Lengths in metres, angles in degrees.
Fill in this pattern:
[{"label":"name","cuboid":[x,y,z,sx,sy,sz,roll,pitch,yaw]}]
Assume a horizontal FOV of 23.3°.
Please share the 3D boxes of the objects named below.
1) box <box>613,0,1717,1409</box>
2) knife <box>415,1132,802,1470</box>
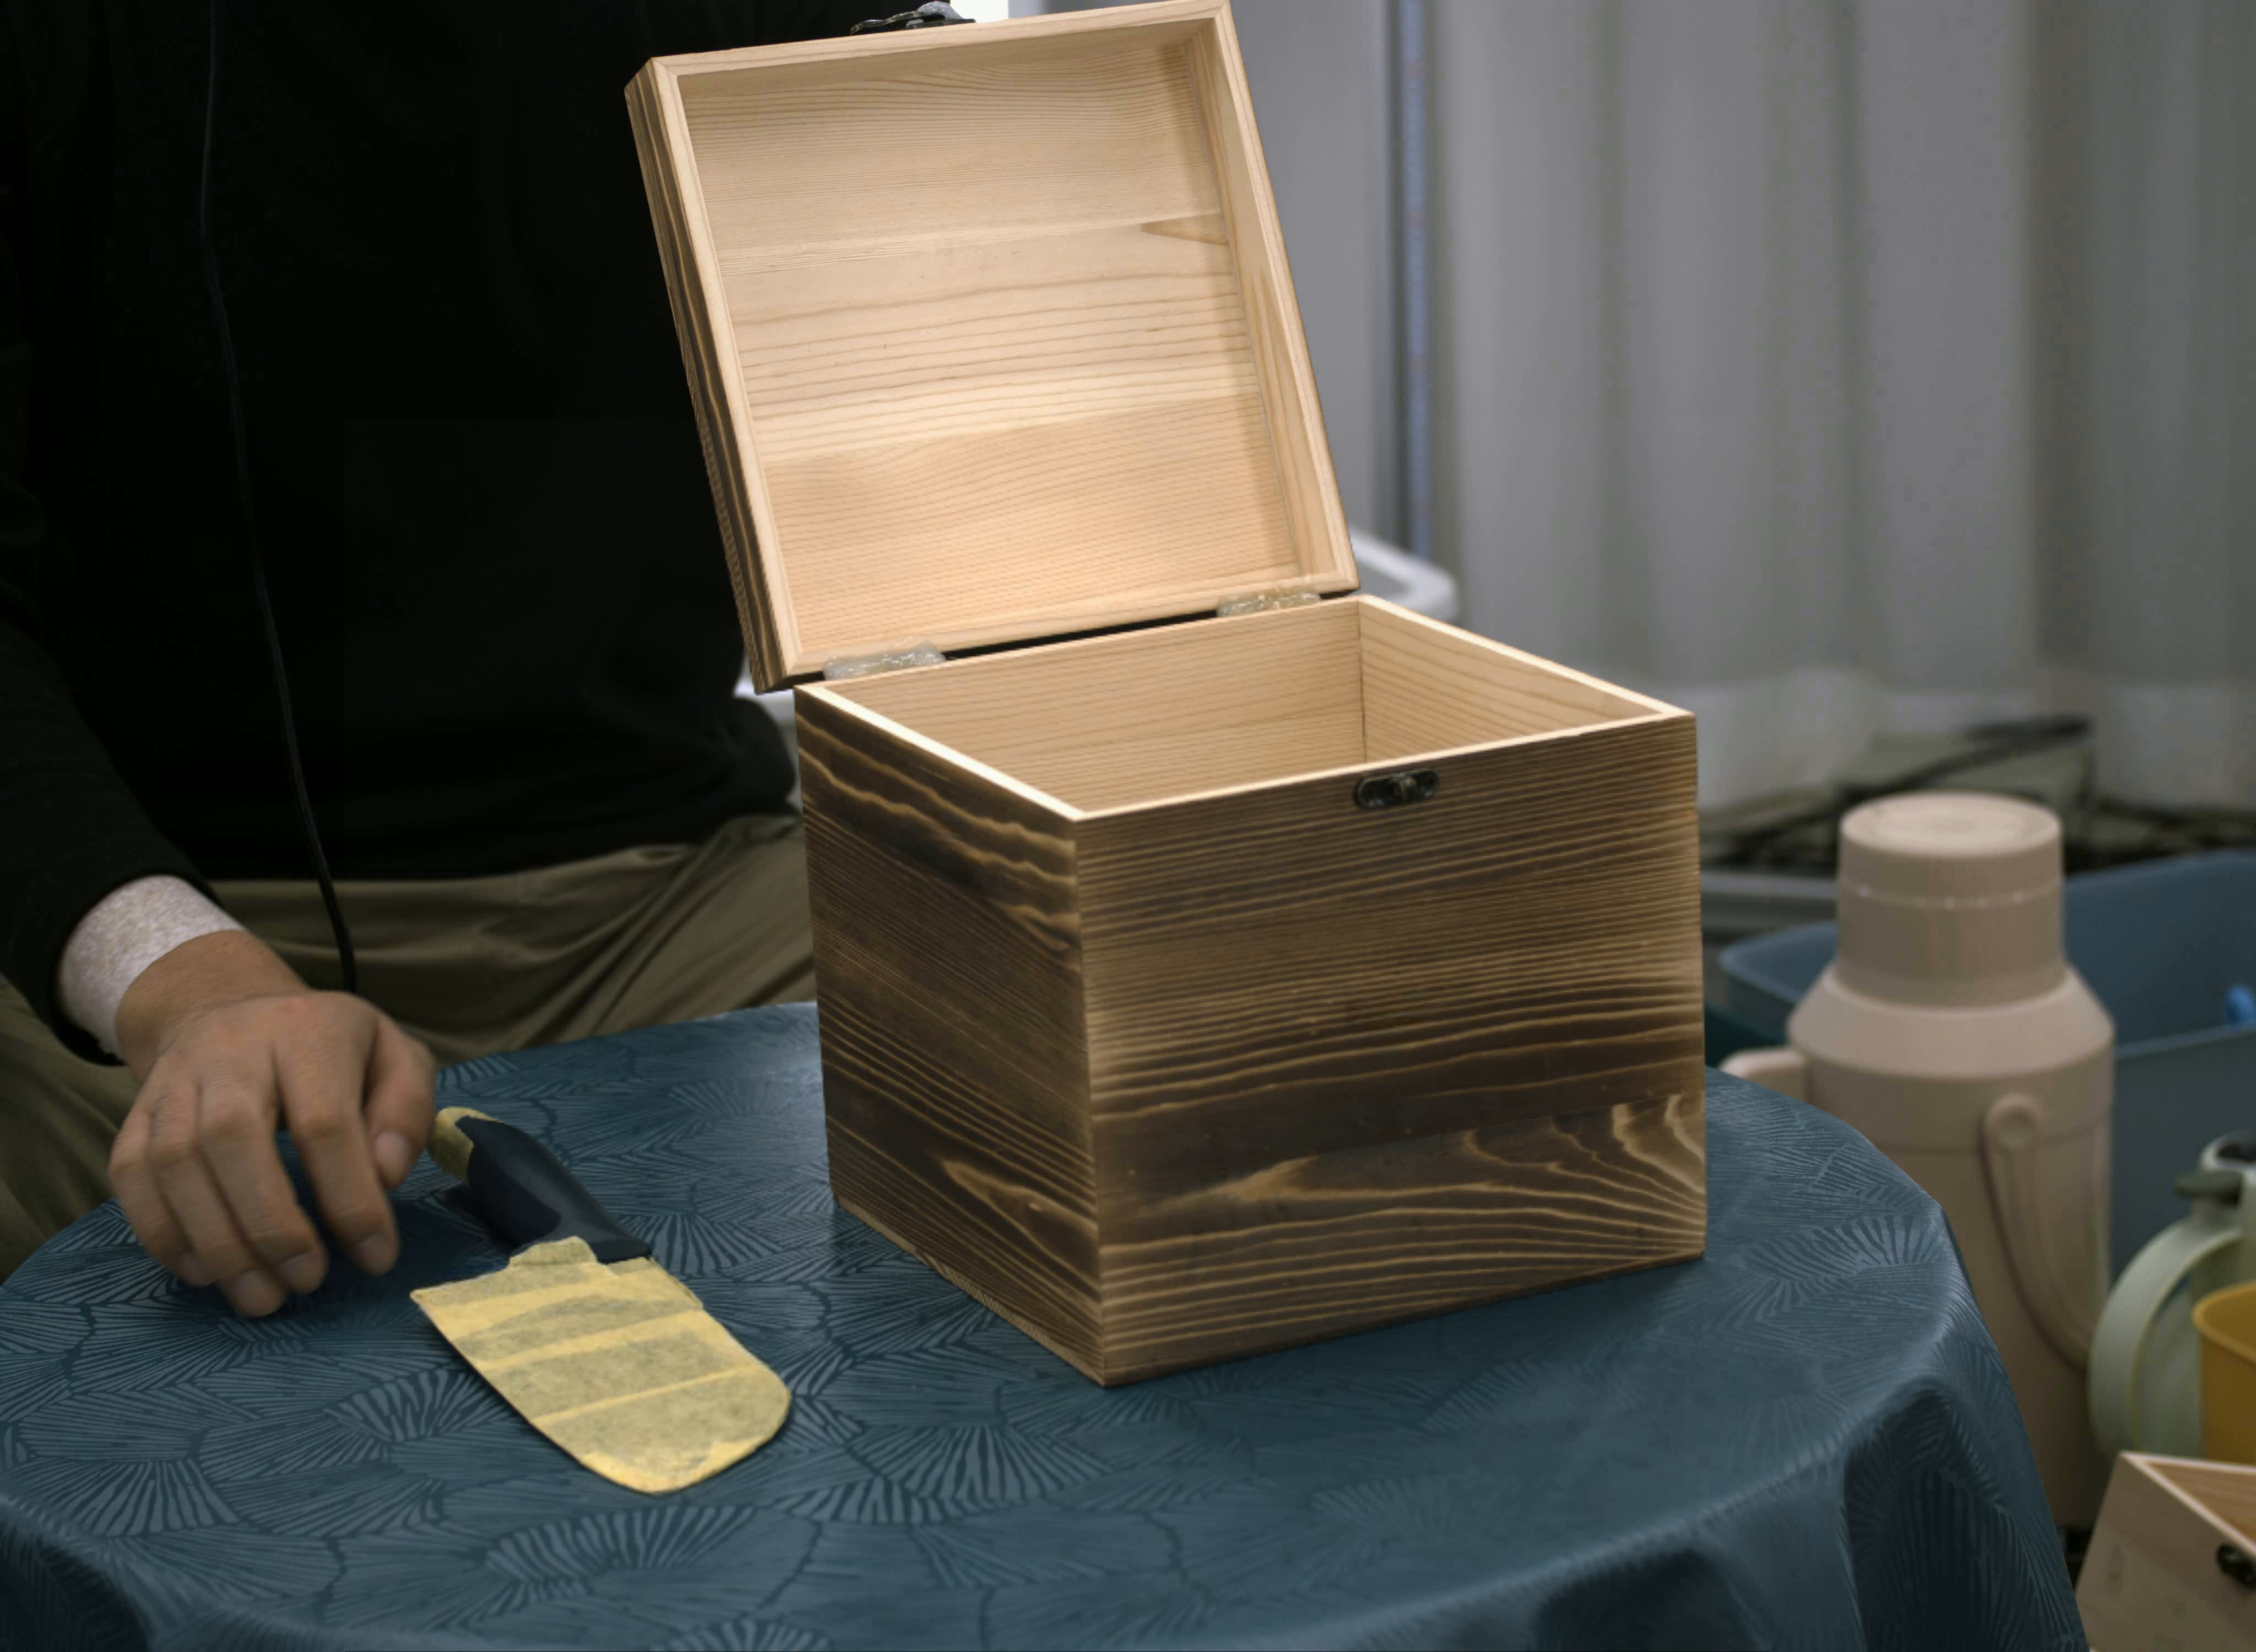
[{"label":"box","cuboid":[0.006,-0.060,1.675,0.208,0.374,0.324,-10,15,-24]},{"label":"knife","cuboid":[-0.168,0.141,1.621,0.080,0.027,0.292,-7,16,-21]}]
